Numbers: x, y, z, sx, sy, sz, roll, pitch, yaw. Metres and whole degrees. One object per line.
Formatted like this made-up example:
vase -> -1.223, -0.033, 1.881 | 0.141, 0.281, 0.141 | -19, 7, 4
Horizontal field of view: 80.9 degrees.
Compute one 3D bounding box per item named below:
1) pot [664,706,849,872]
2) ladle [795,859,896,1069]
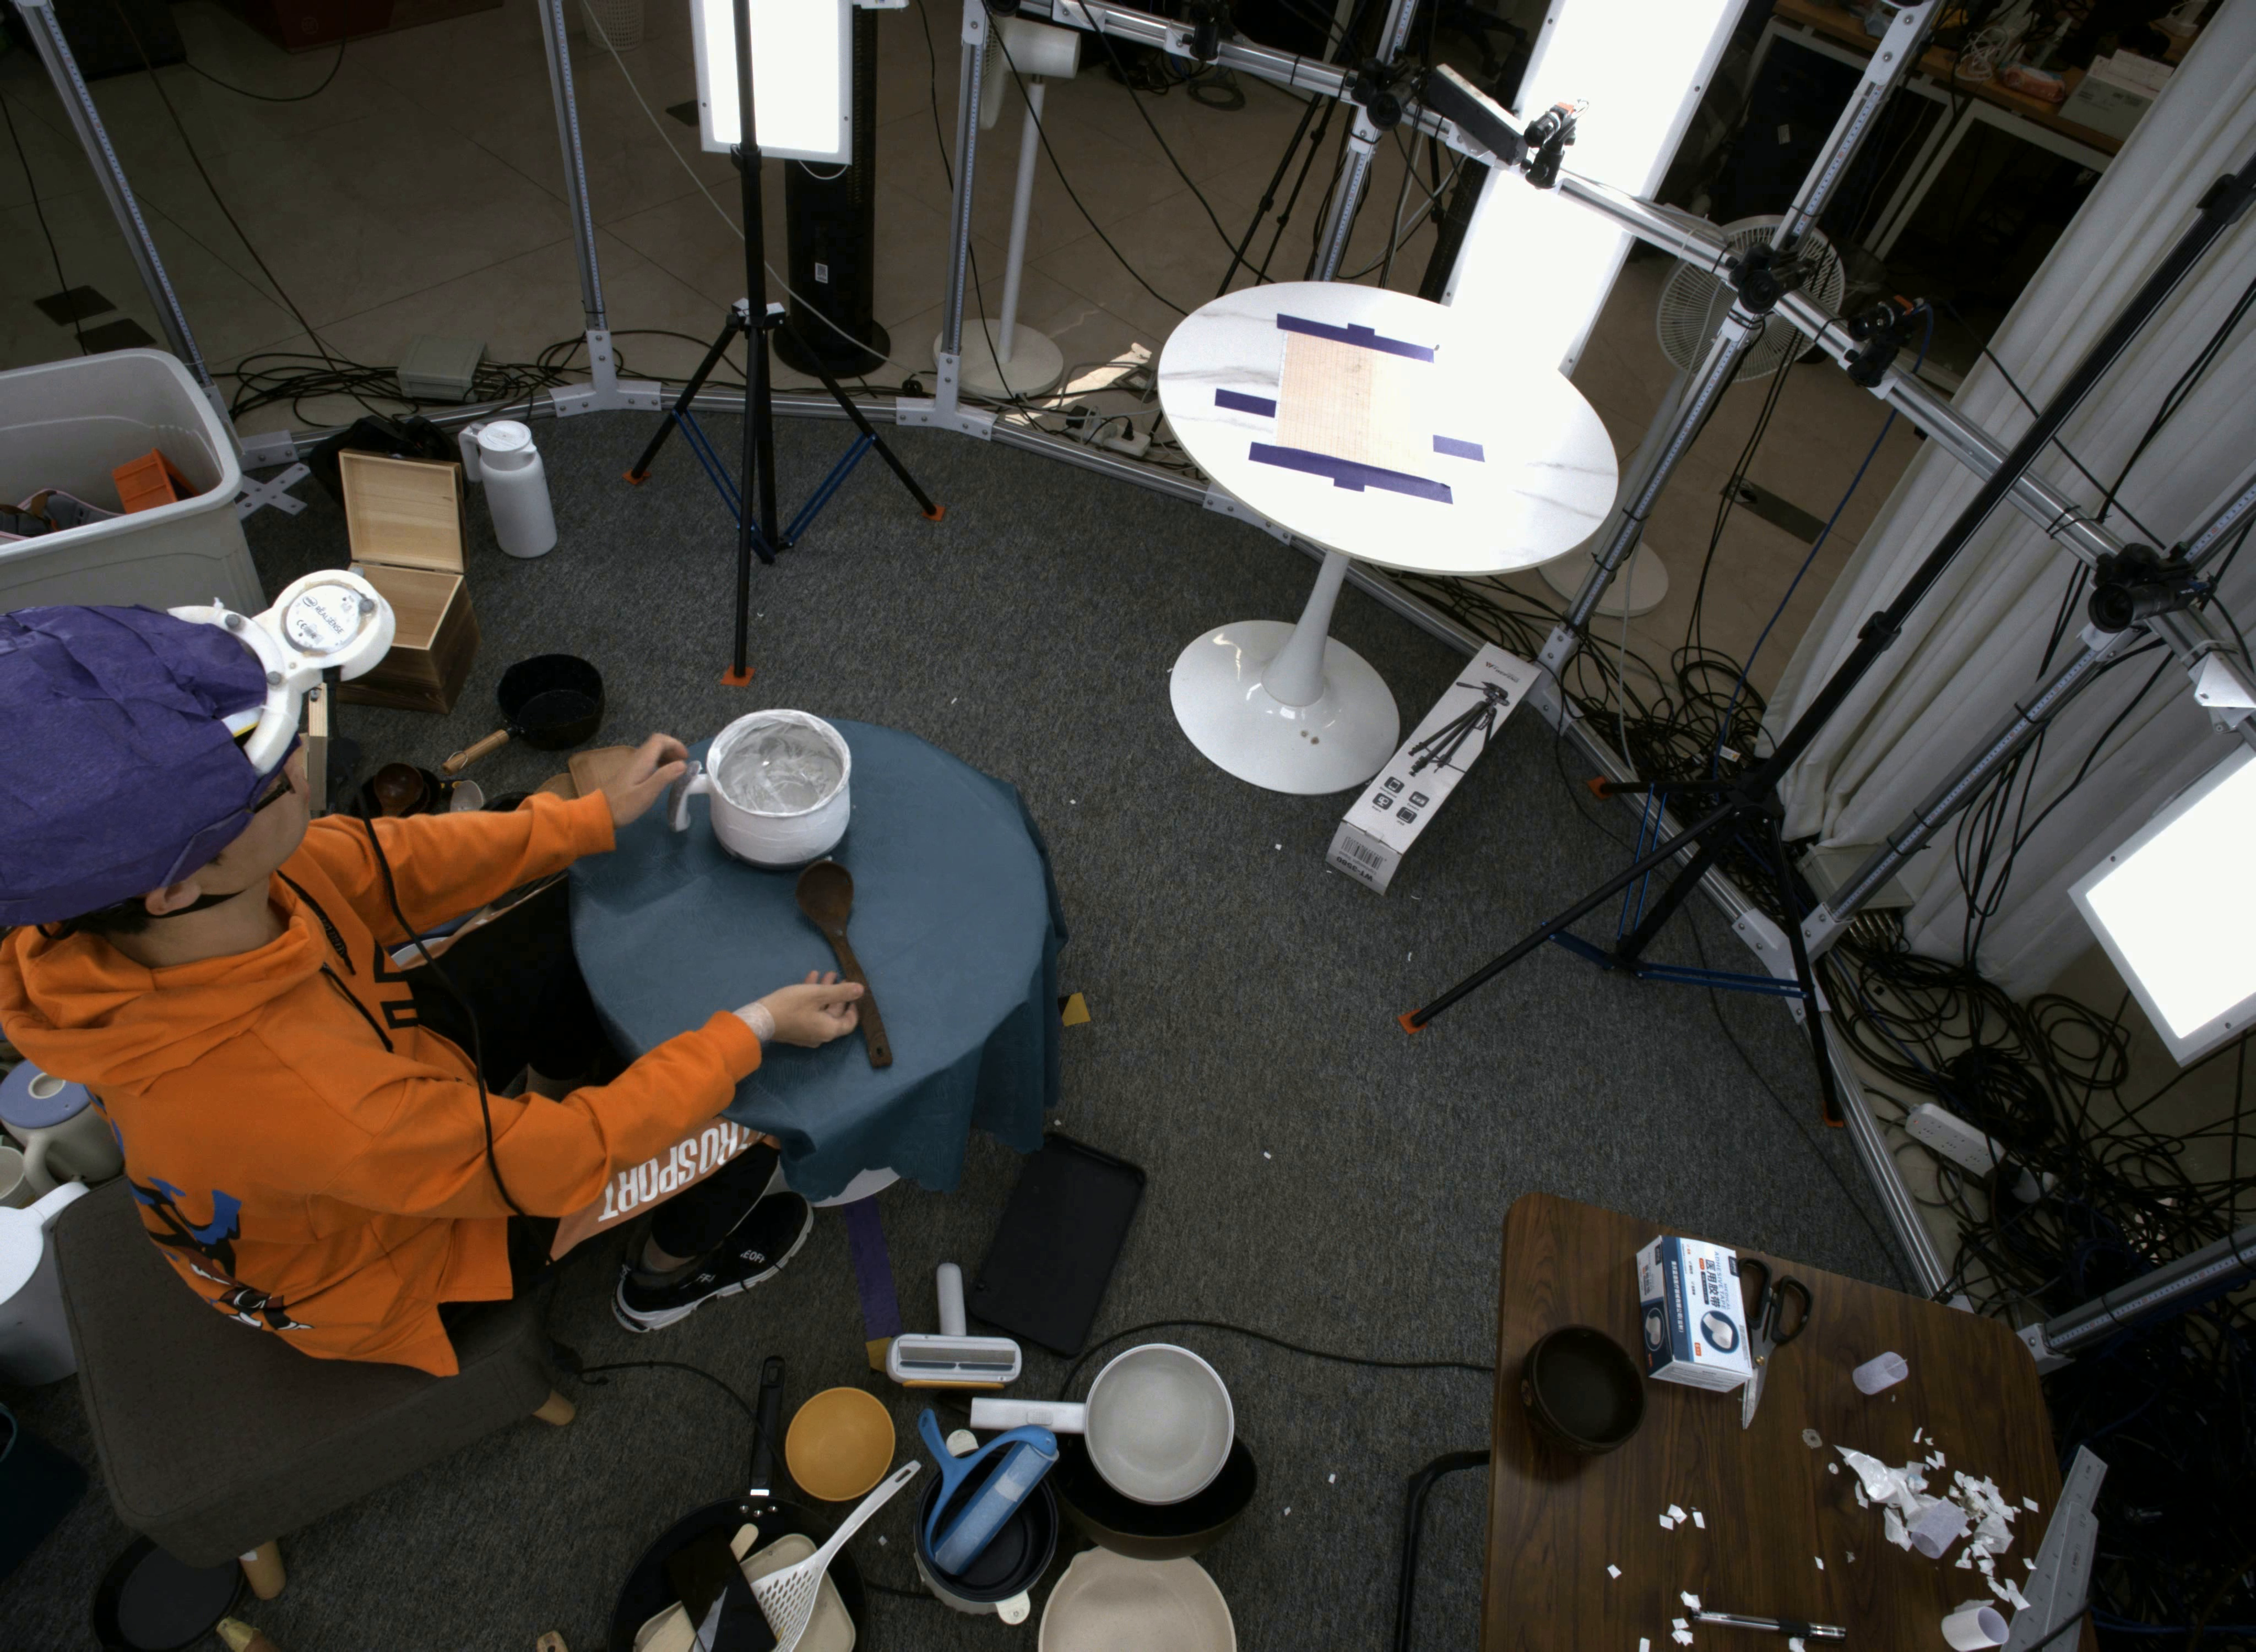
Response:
pot -> -0.472, -0.041, 1.643 | 0.235, 0.139, 0.174 | -5, 54, -18
ladle -> -0.335, 0.158, 1.572 | 0.076, 0.073, 0.267 | -13, 57, -26
